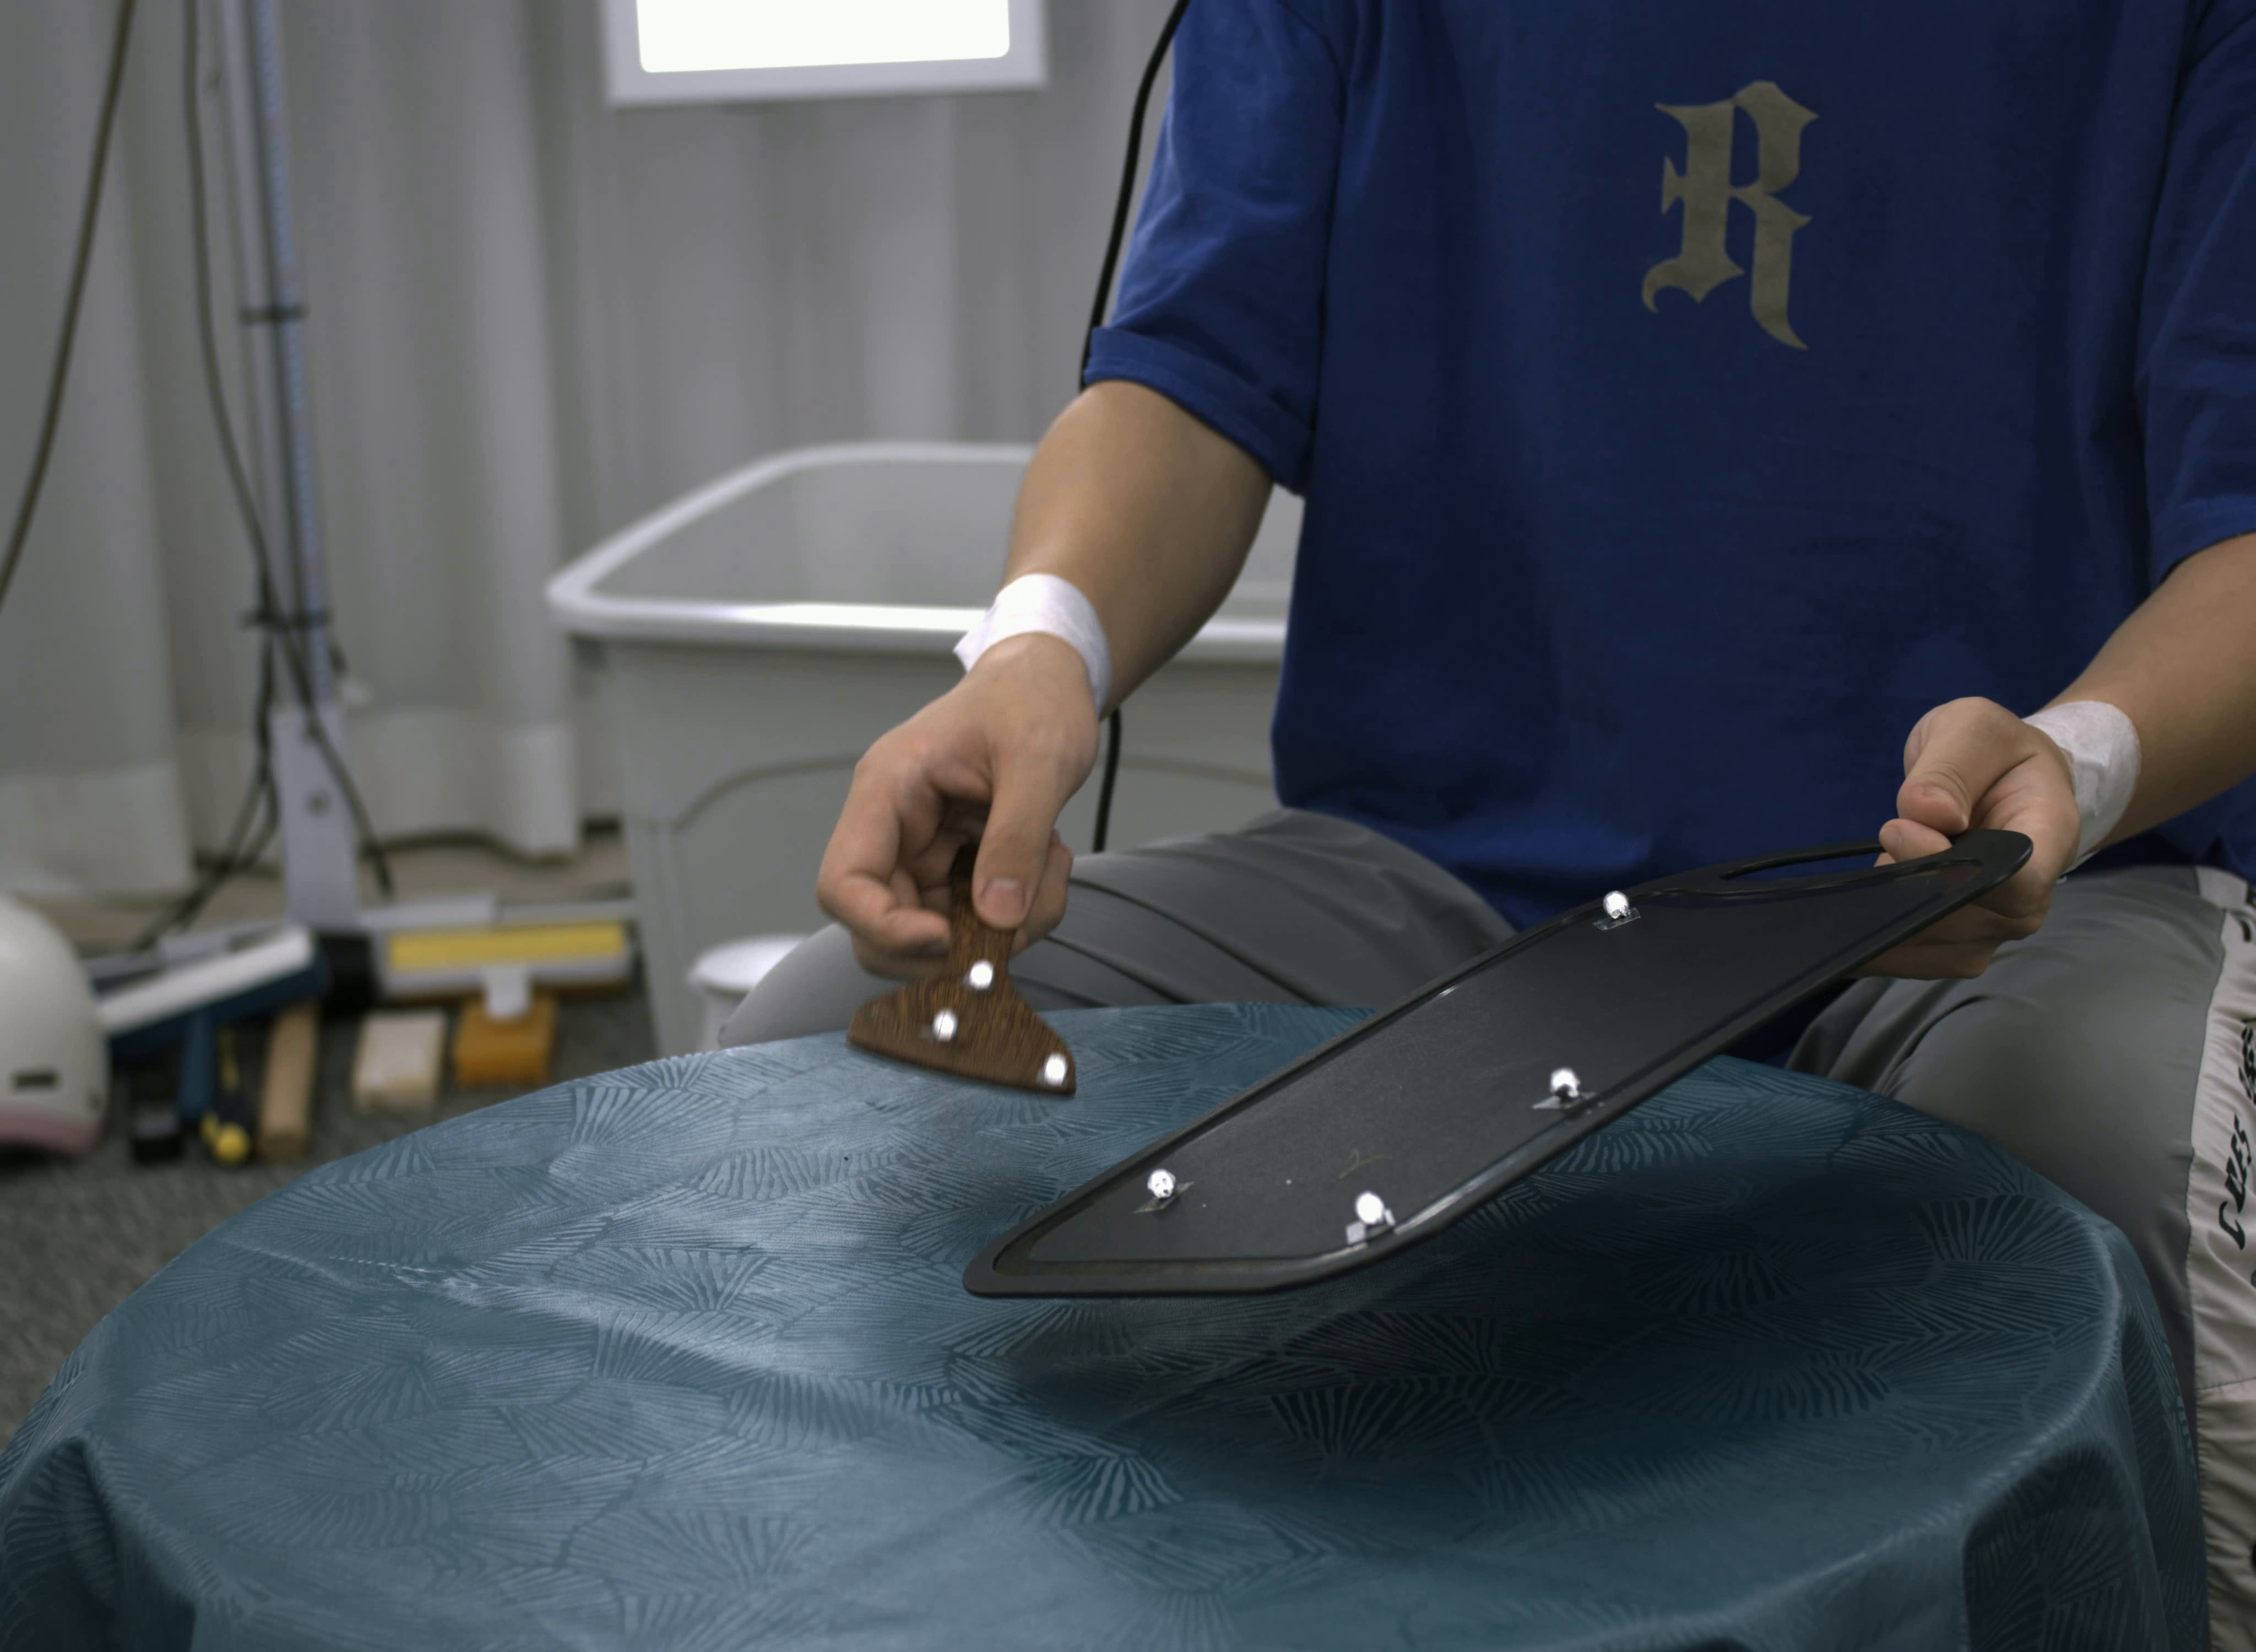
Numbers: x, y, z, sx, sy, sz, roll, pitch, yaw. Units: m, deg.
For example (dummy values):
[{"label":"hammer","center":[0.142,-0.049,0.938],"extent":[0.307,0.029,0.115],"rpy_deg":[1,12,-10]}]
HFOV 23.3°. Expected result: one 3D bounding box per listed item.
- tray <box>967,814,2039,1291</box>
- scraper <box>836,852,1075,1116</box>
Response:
[{"label":"tray","center":[0.114,0.061,1.584],"extent":[0.326,0.010,0.211],"rpy_deg":[-28,11,-34]},{"label":"scraper","center":[-0.050,0.048,1.770],"extent":[0.075,0.011,0.213],"rpy_deg":[13,20,-3]}]
